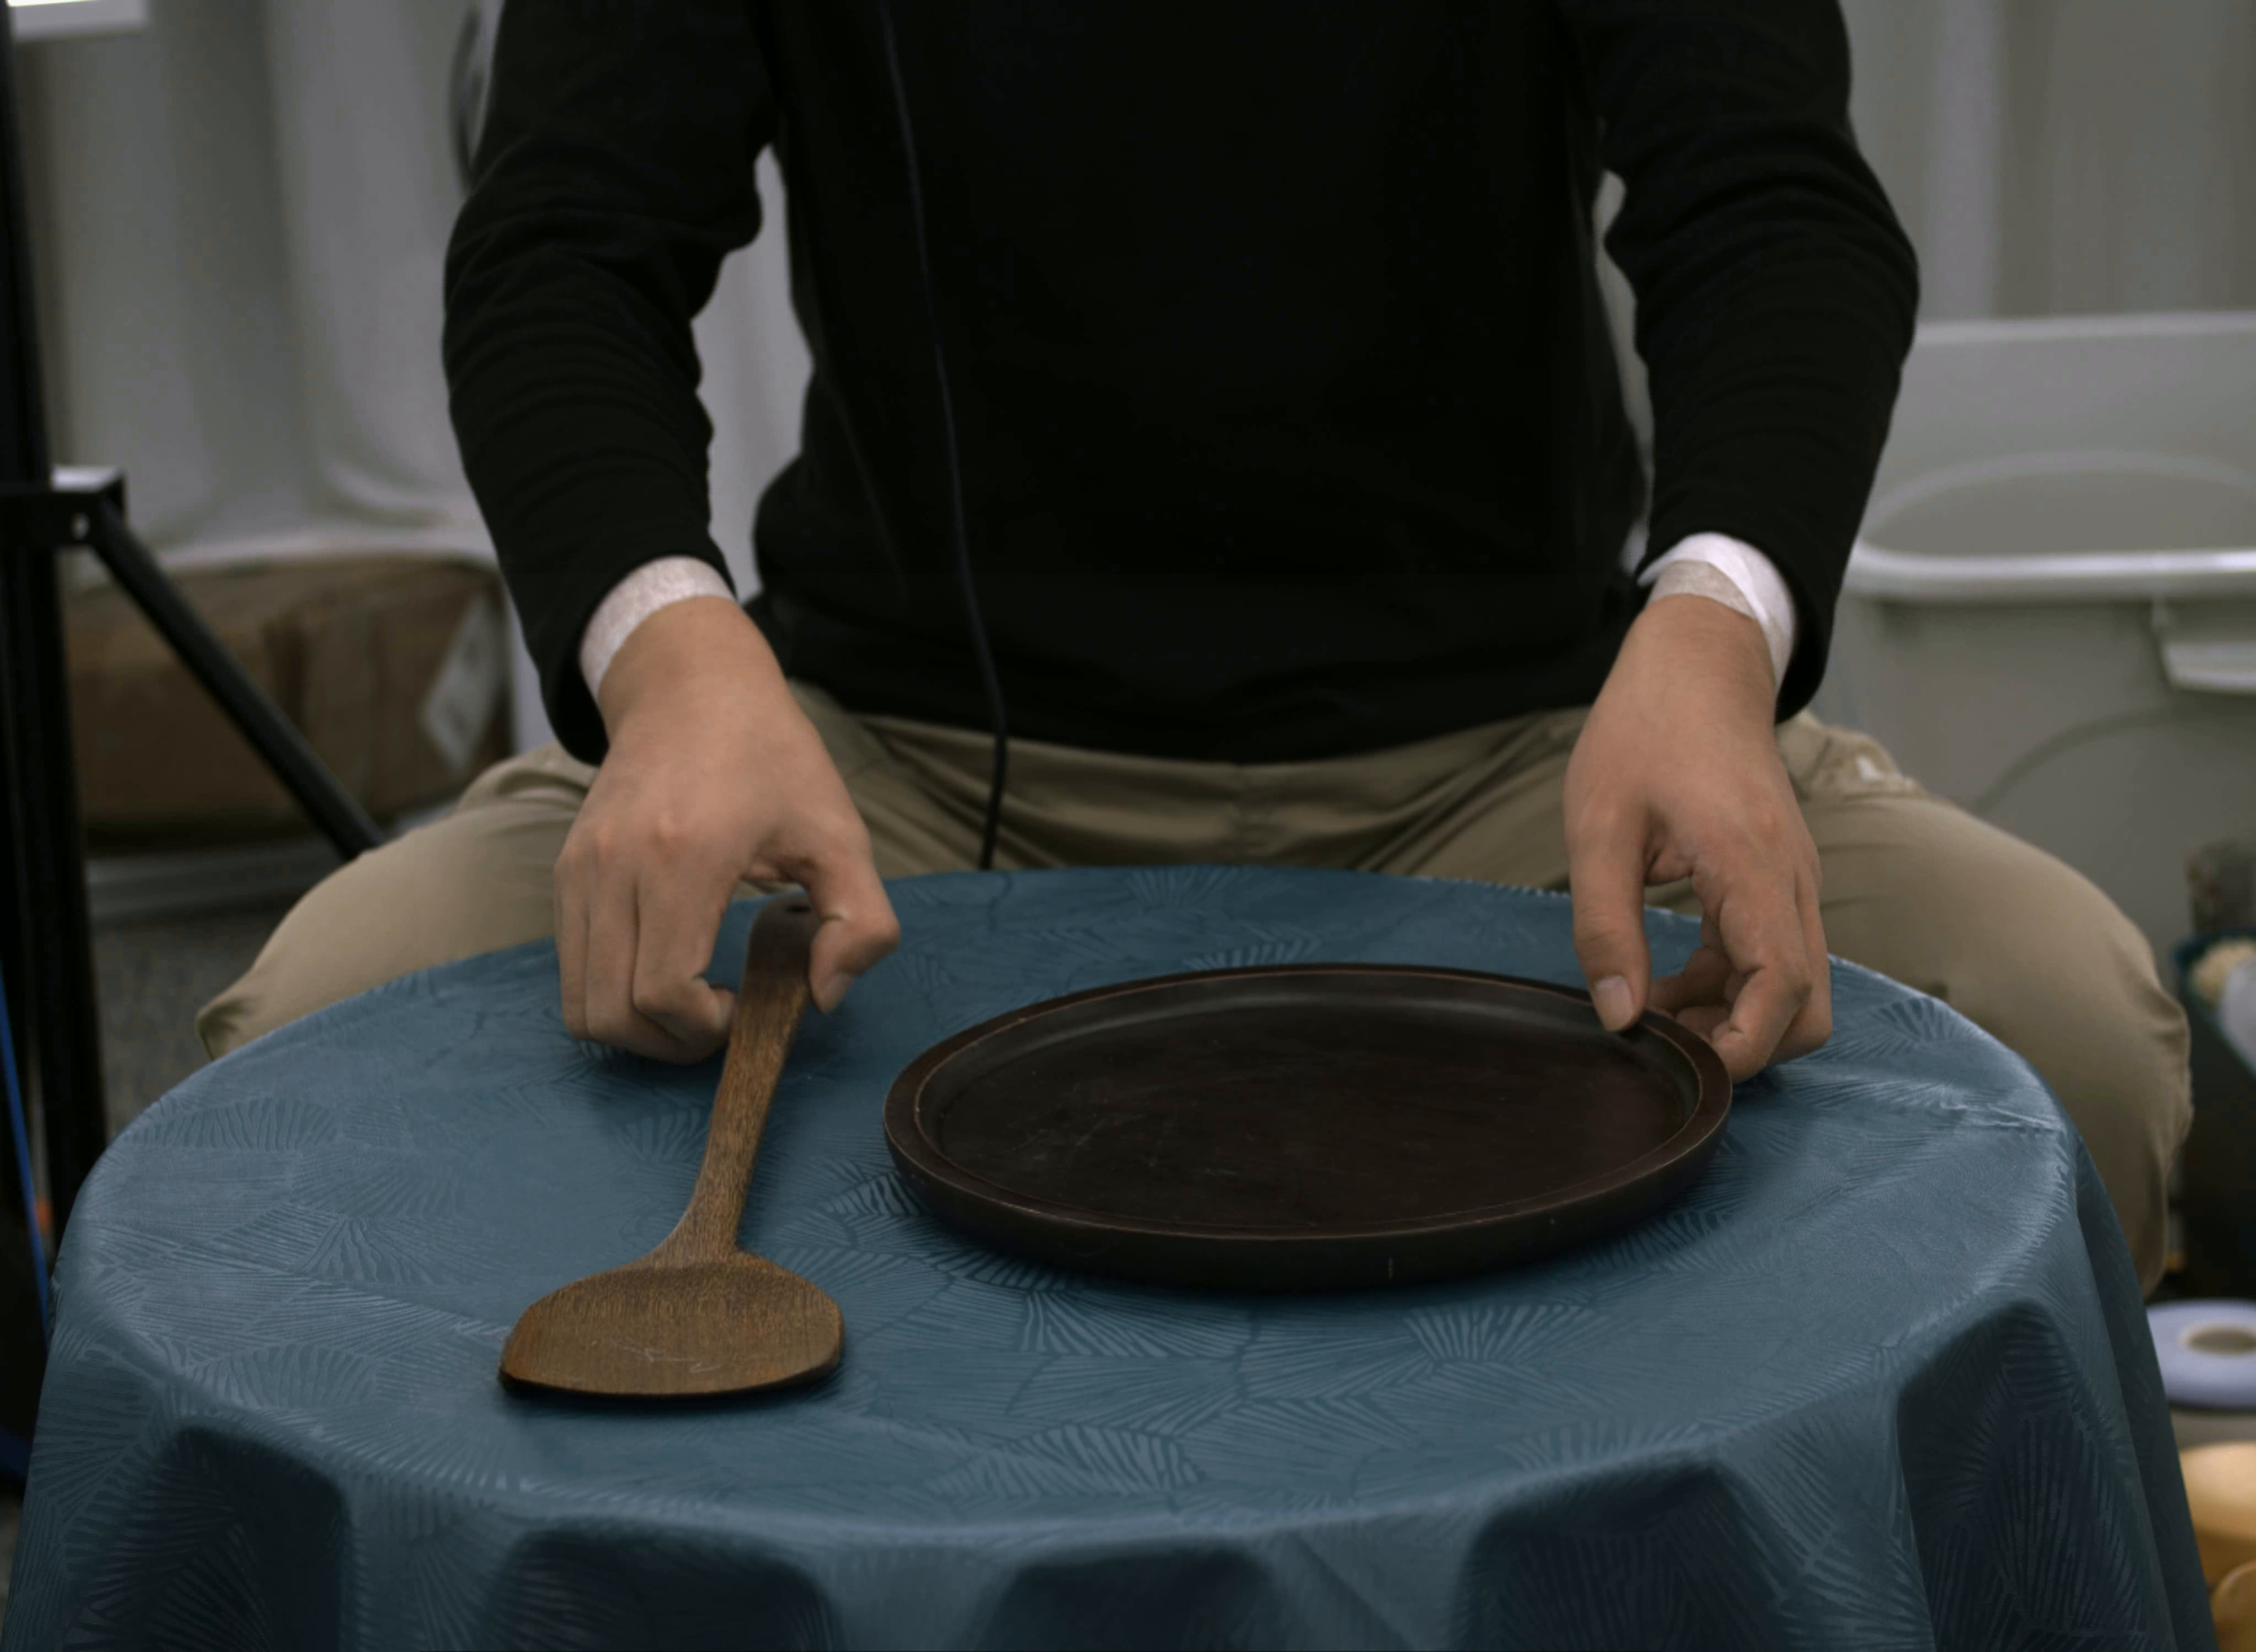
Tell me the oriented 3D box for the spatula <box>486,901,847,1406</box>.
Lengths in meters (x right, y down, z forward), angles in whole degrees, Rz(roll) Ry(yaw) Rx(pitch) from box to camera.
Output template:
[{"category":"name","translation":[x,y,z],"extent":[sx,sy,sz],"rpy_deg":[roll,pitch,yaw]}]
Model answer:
[{"category":"spatula","translation":[-0.116,0.089,1.588],"extent":[0.096,0.016,0.387],"rpy_deg":[-1,20,4]}]

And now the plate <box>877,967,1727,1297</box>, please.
[{"category":"plate","translation":[0.052,0.088,1.575],"extent":[0.253,0.029,0.256],"rpy_deg":[-4,15,0]}]
